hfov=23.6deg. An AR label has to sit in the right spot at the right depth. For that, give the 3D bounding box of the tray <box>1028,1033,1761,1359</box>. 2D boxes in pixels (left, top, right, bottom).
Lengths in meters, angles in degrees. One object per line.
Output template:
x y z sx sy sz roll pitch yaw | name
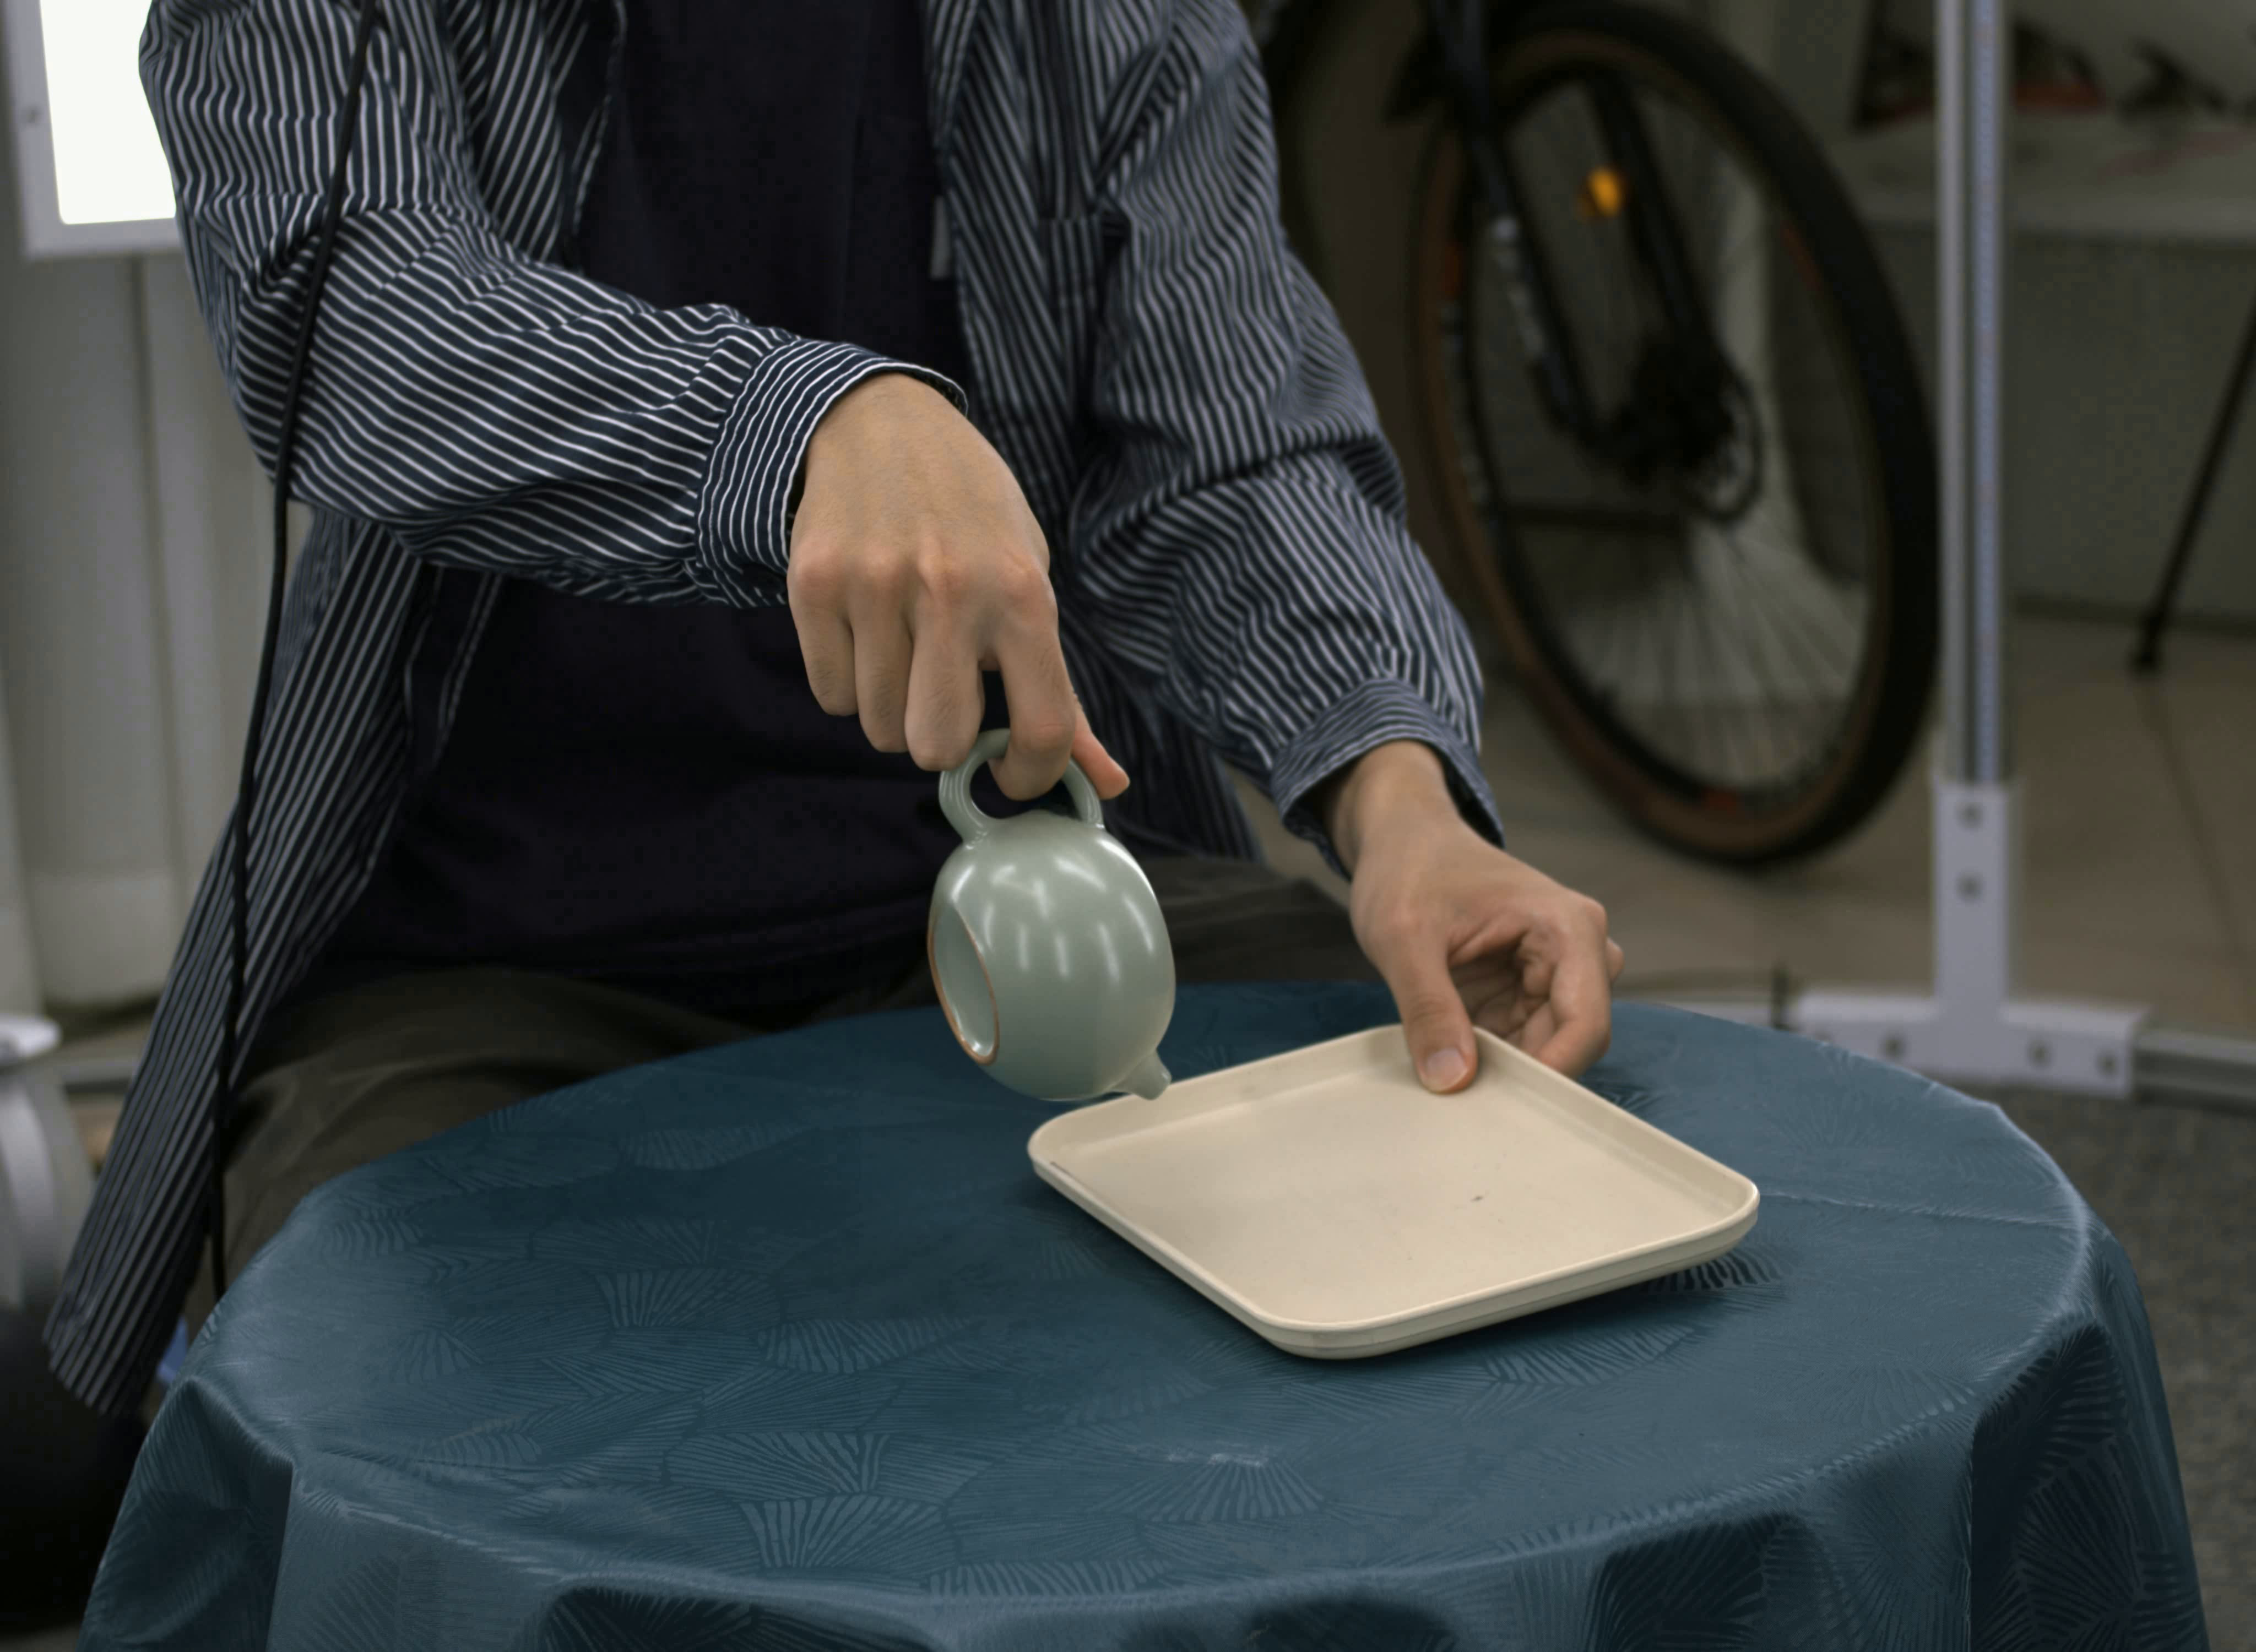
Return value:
0.081 0.116 1.707 0.168 0.017 0.242 -13 16 -20 | tray

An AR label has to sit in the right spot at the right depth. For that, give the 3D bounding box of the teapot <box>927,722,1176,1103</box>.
-0.028 0.031 1.673 0.060 0.130 0.092 -18 4 -18 | teapot
